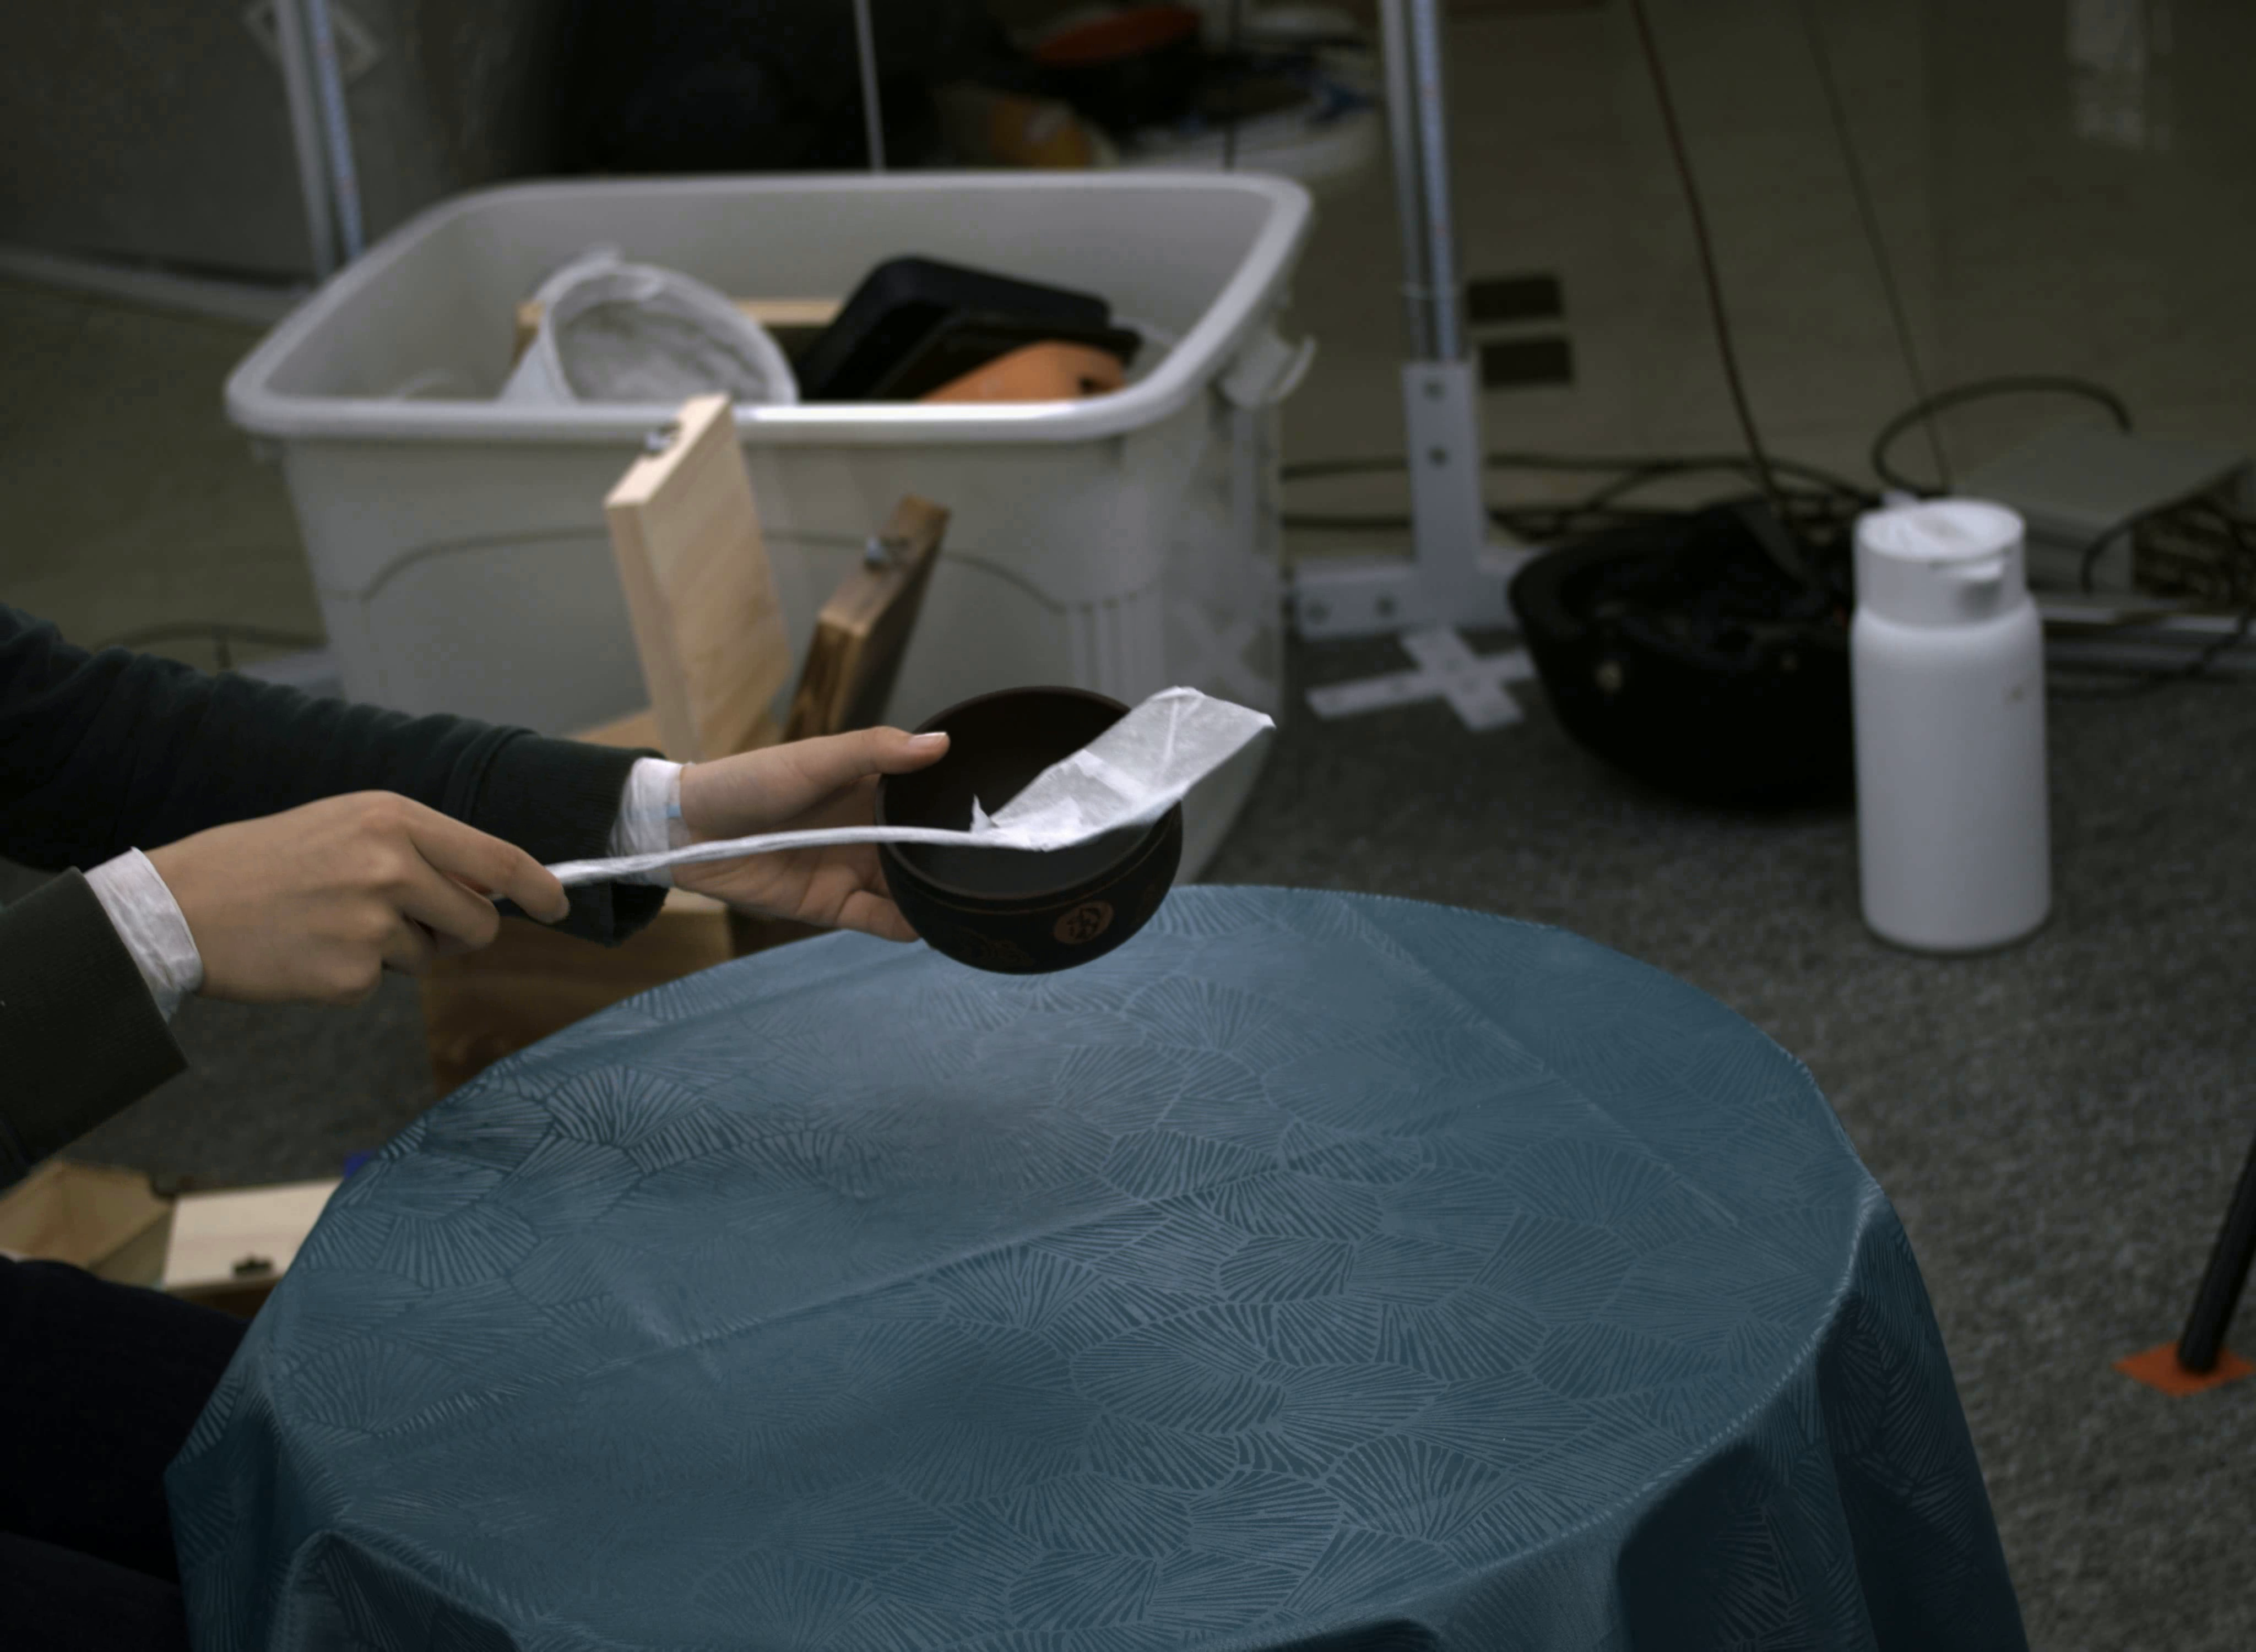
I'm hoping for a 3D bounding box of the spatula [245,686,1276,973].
[{"bbox_3d":[-0.124,0.003,1.940,0.364,0.045,0.098,-9,15,-18],"label":"spatula"}]

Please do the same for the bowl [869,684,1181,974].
[{"bbox_3d":[-0.037,0.010,2.152,0.118,0.071,0.116,-5,45,5],"label":"bowl"}]
